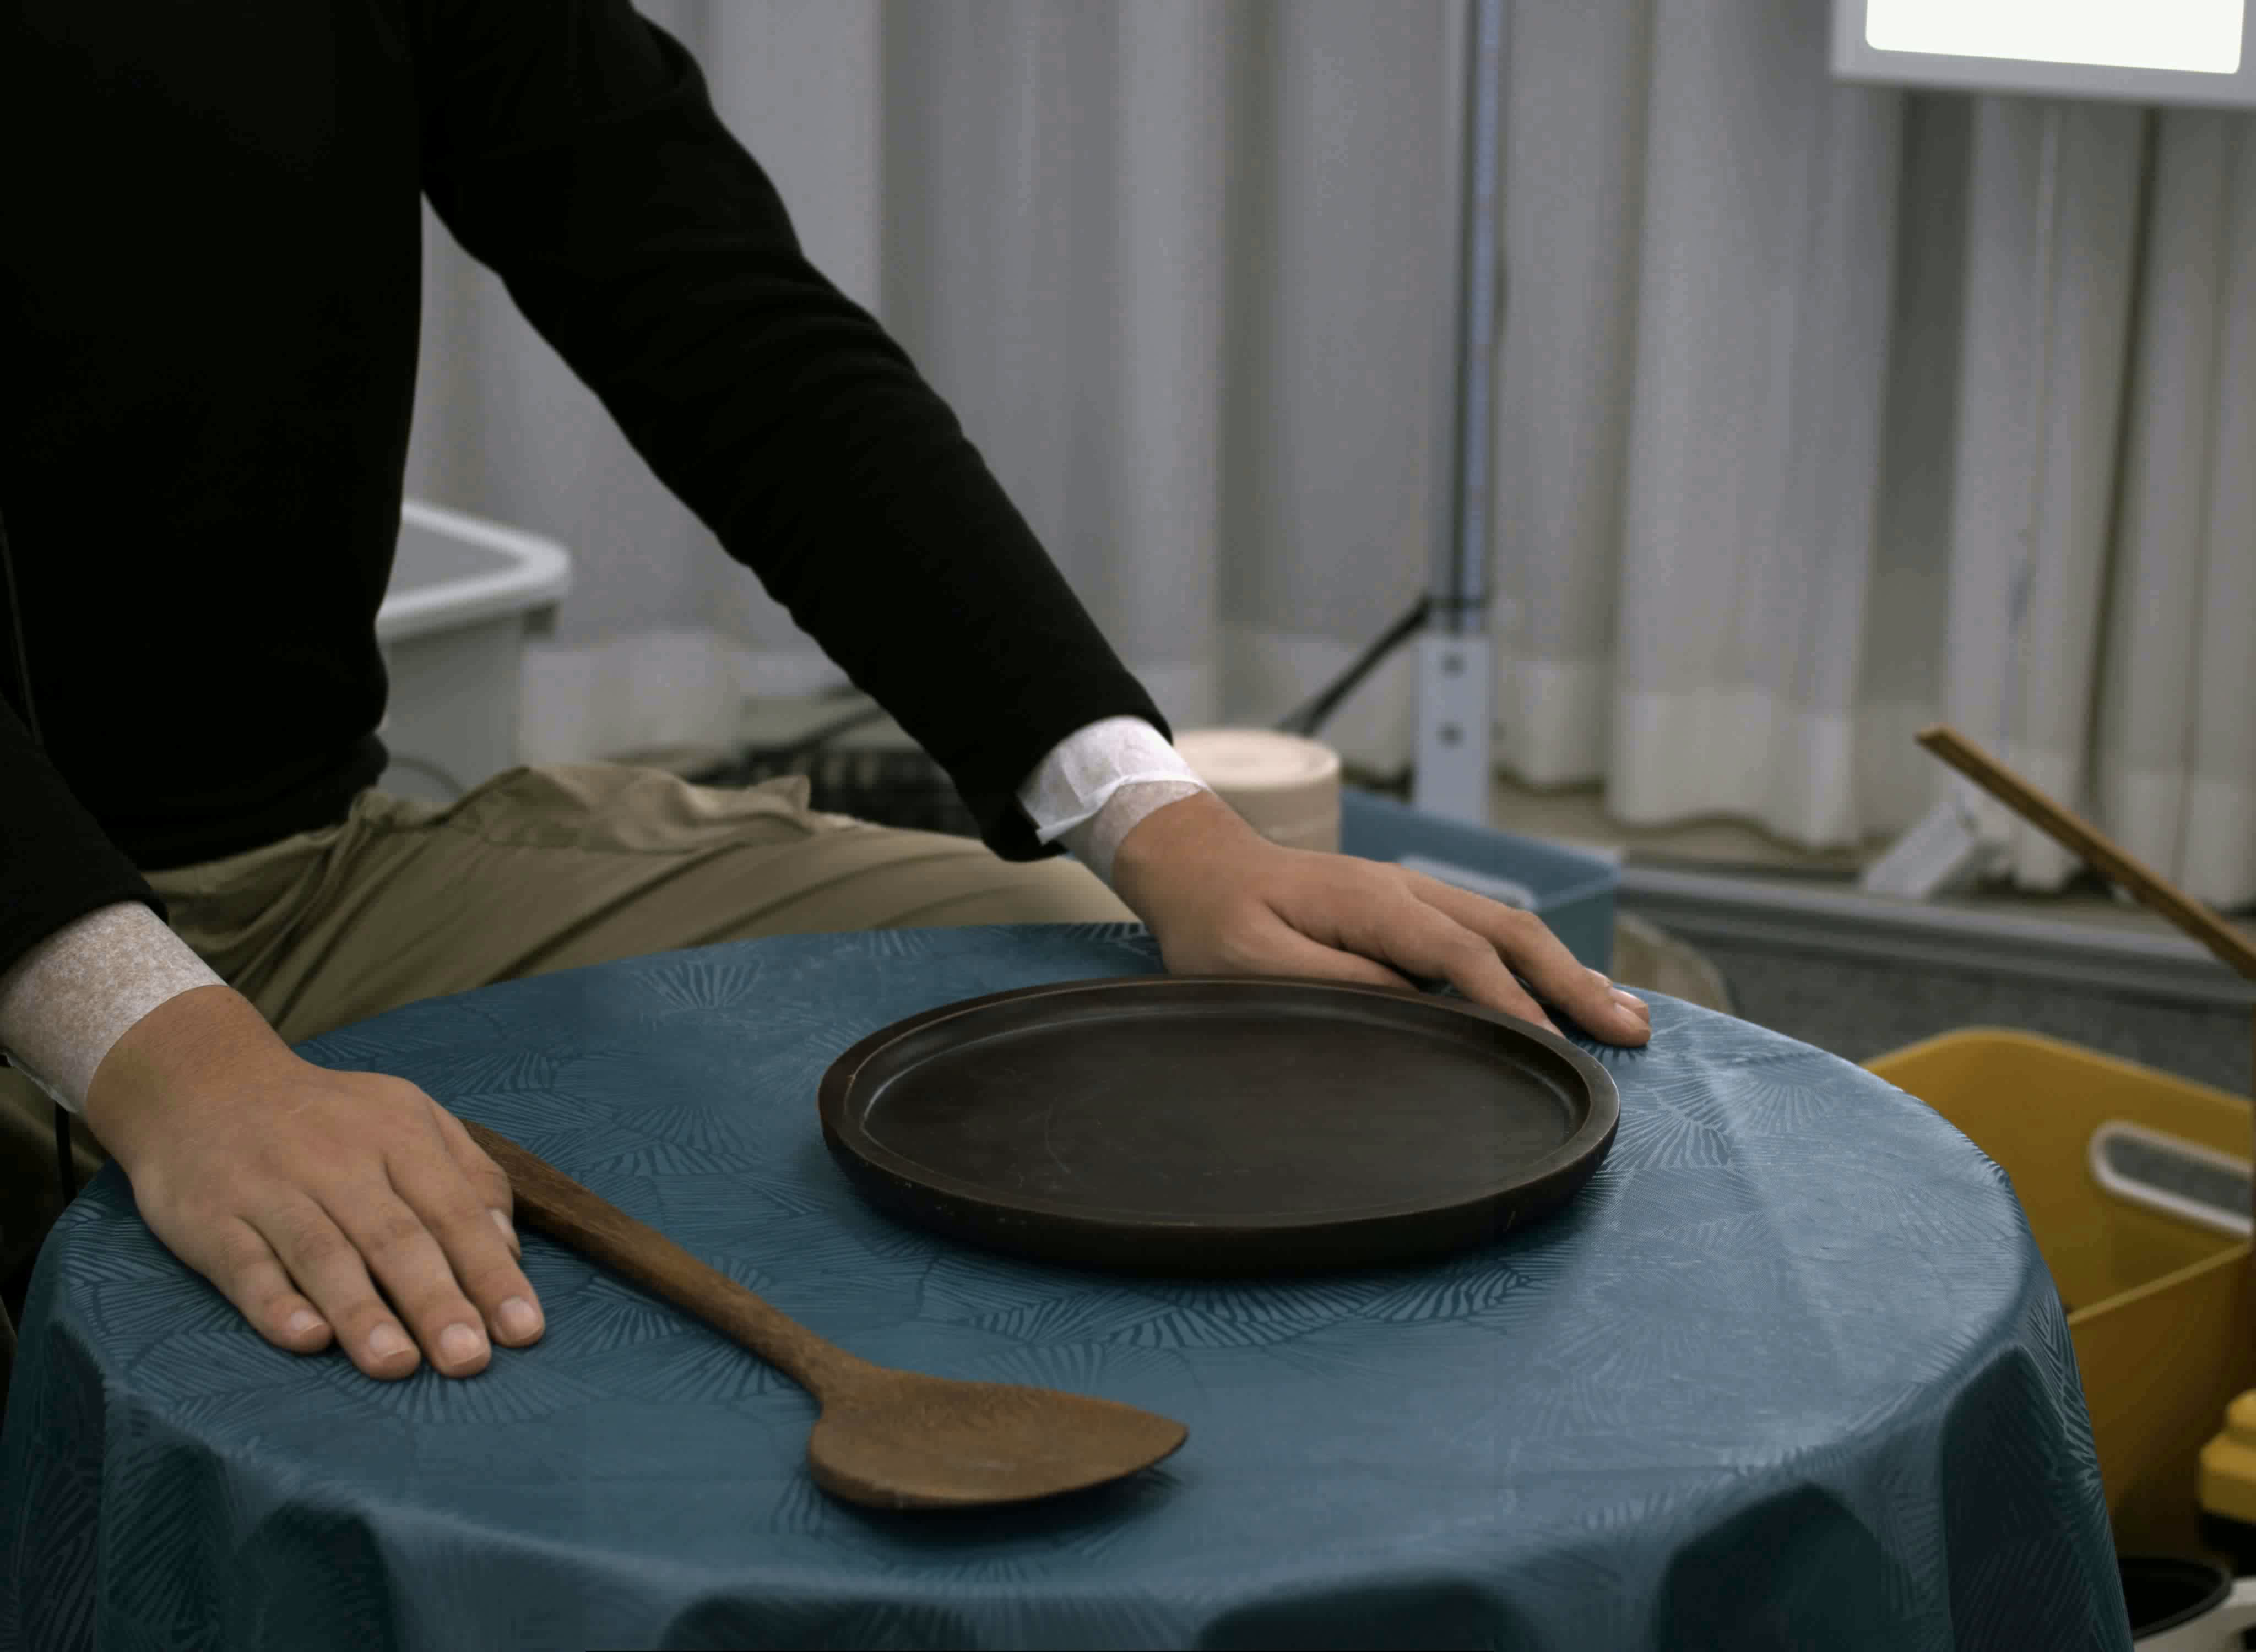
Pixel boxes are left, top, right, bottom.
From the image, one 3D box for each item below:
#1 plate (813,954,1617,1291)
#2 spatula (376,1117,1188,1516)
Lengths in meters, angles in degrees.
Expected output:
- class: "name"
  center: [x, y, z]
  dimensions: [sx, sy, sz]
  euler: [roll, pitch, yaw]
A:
- class: "plate"
  center: [0.027, 0.093, 1.651]
  dimensions: [0.254, 0.029, 0.253]
  euler: [0, 17, 0]
- class: "spatula"
  center: [-0.122, 0.134, 1.511]
  dimensions: [0.096, 0.016, 0.381]
  euler: [-9, 18, -34]
